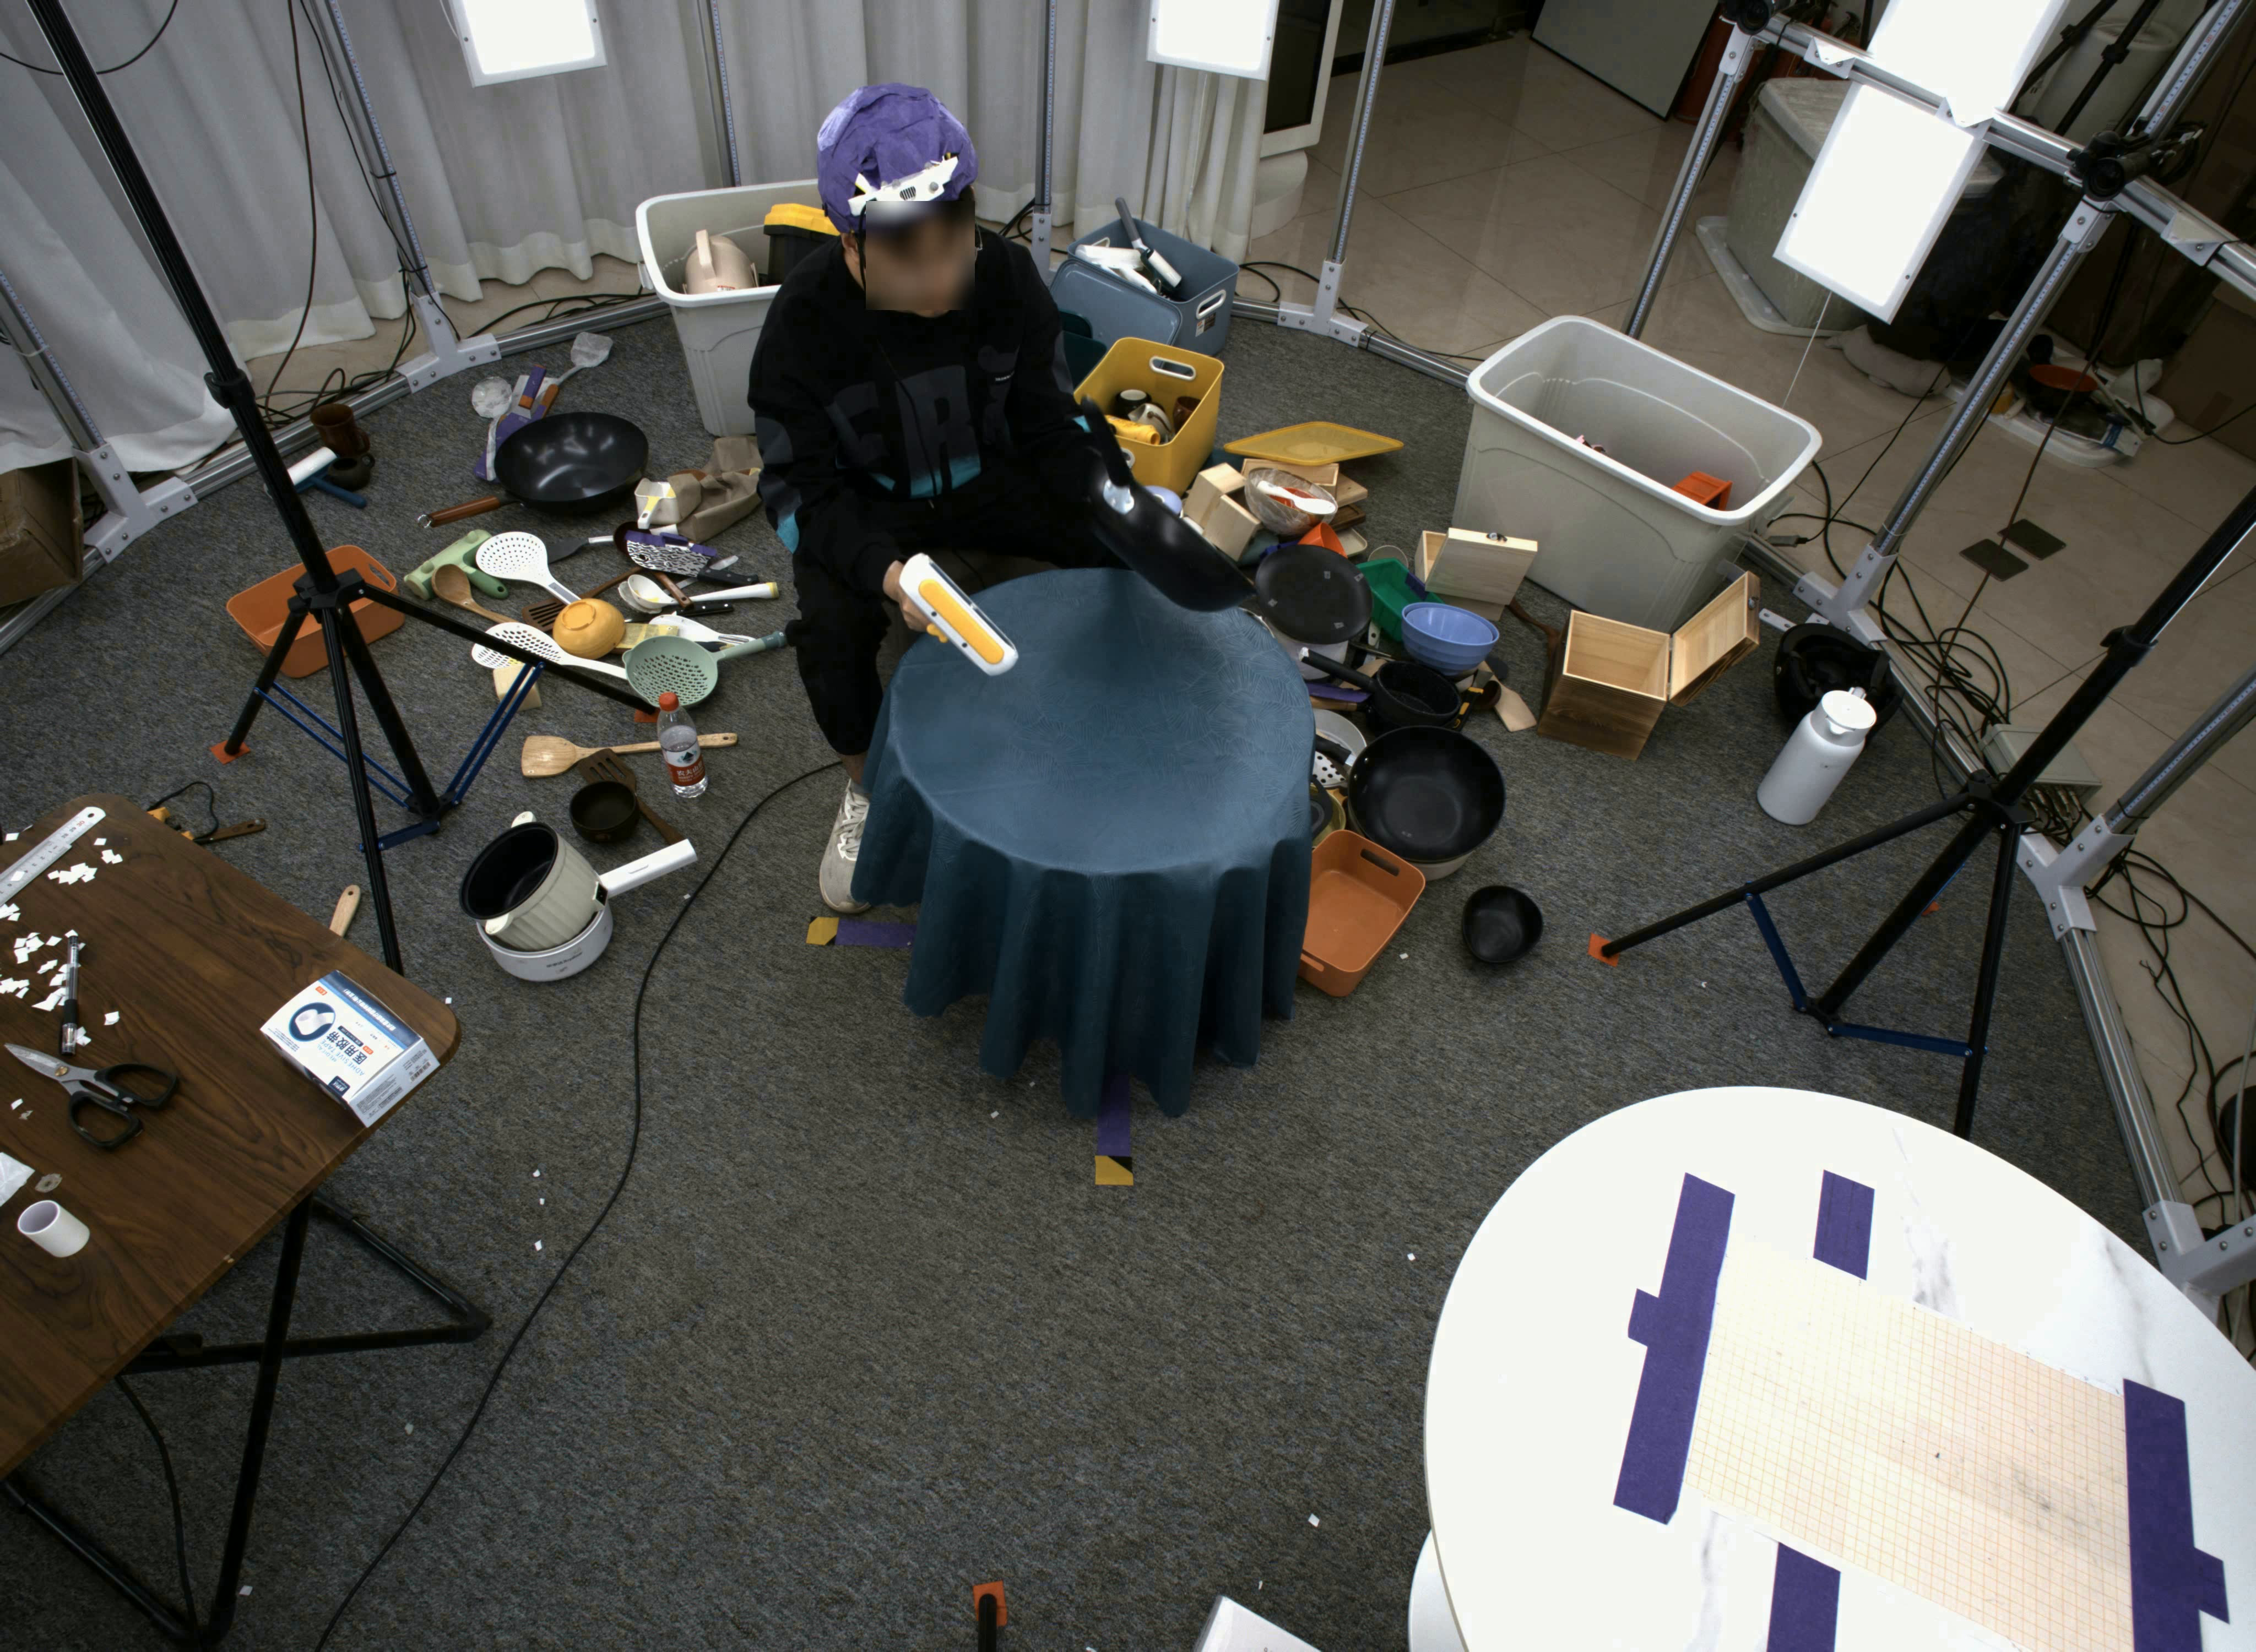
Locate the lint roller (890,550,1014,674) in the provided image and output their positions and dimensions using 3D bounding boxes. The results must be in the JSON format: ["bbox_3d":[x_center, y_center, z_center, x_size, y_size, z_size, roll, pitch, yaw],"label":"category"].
[{"bbox_3d":[-0.242,-0.289,1.728,0.190,0.074,0.195,39,7,-19],"label":"lint roller"}]

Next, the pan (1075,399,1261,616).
[{"bbox_3d":[0.012,-0.404,1.696,0.315,0.471,0.111,42,98,24],"label":"pan"}]
